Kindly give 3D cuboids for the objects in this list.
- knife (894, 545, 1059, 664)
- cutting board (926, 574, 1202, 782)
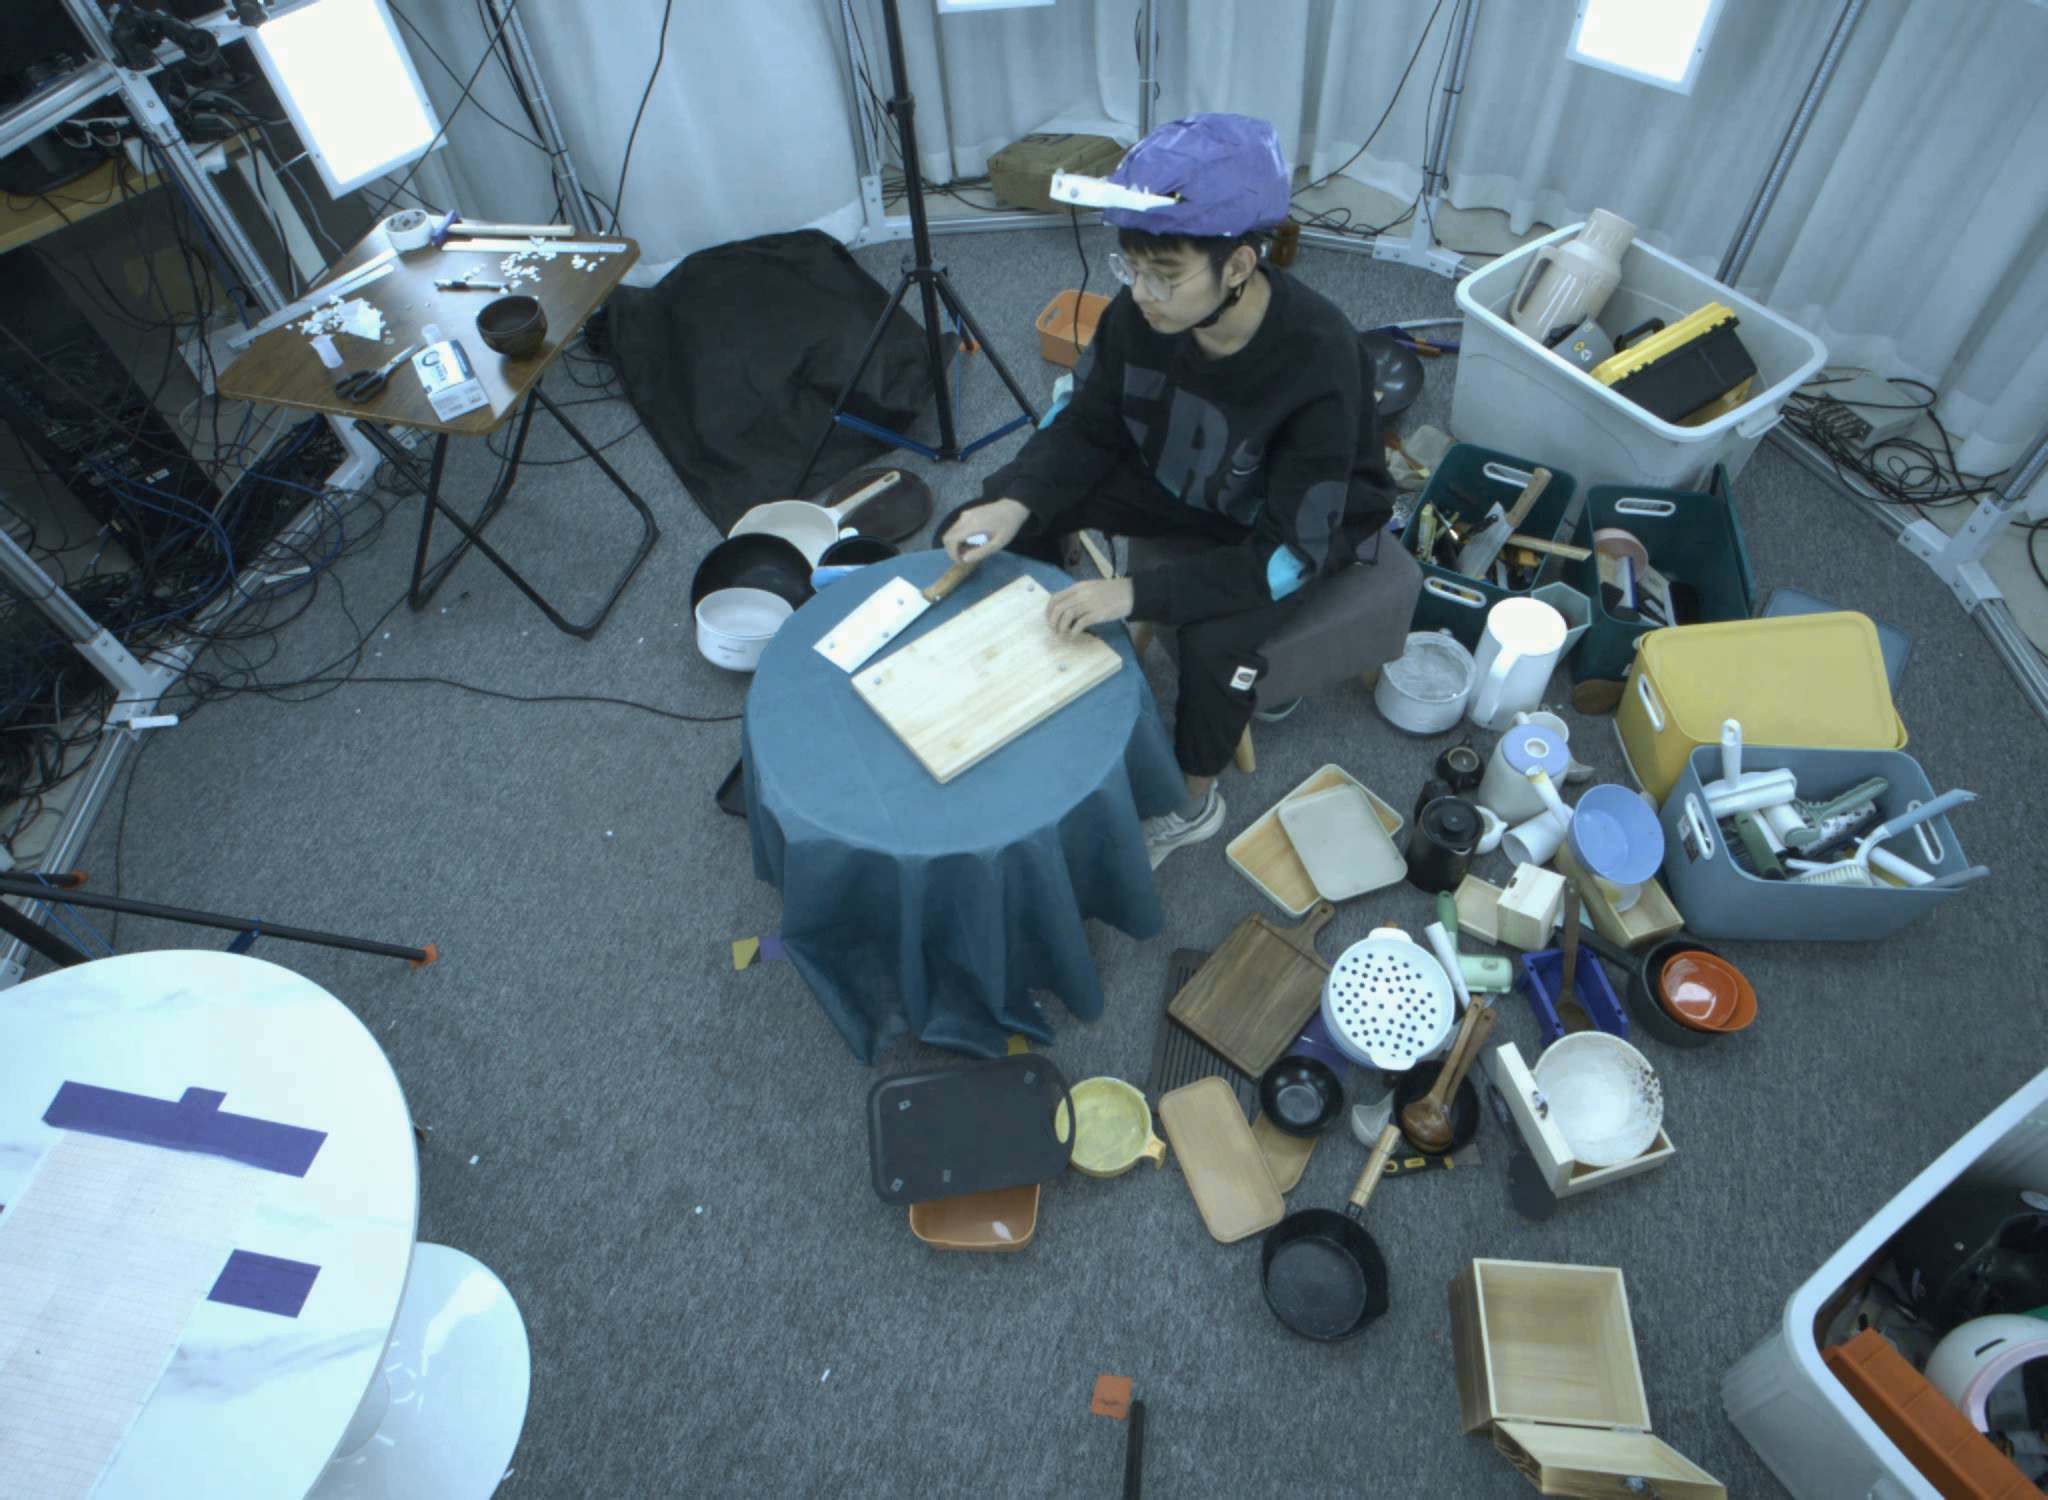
[{"bbox_3d":[-0.079,-0.245,1.954,0.307,0.021,0.091,-40,61,-20],"label":"knife"},{"bbox_3d":[0.056,-0.118,1.858,0.351,0.024,0.246,-30,59,-18],"label":"cutting board"}]
